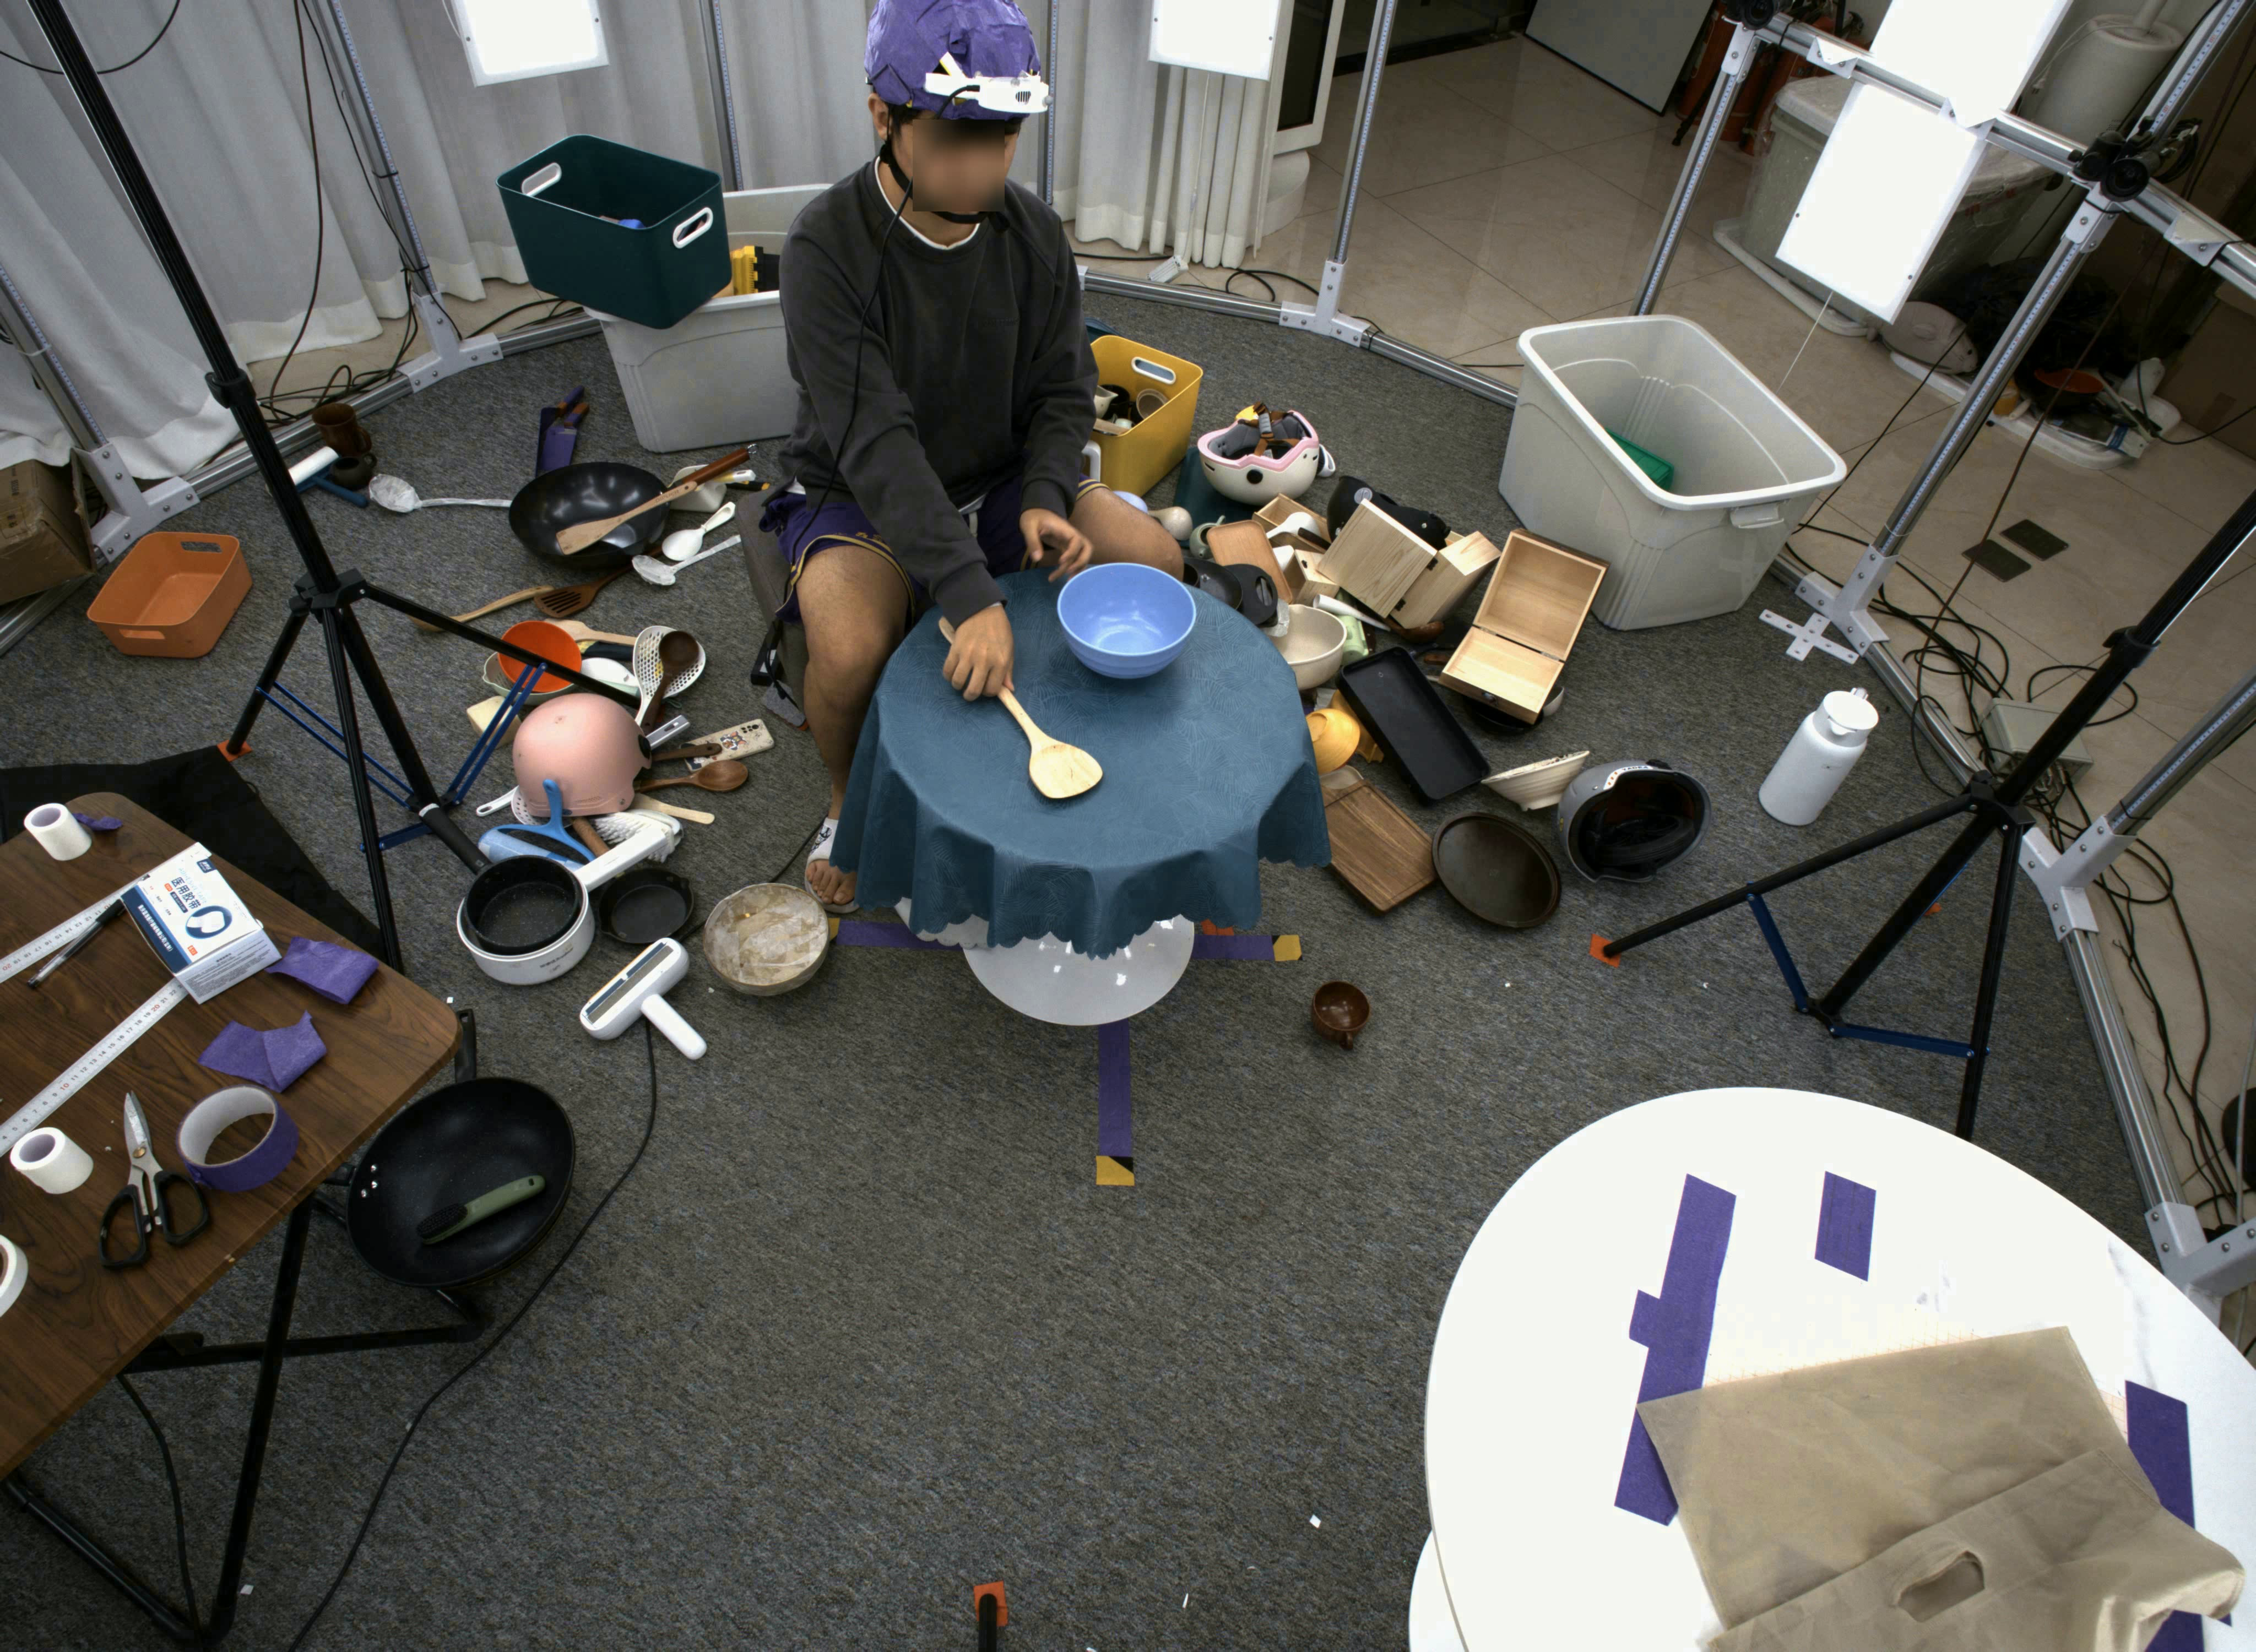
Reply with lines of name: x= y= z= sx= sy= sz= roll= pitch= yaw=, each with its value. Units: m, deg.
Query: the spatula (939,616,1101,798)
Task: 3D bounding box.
spatula: x=-0.170 y=-0.173 z=1.789 sx=0.096 sy=0.018 sz=0.398 roll=-21 pitch=55 yaw=-26

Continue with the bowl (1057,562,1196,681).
bowl: x=-0.004 y=-0.279 z=1.850 sx=0.196 sy=0.093 sz=0.201 roll=1 pitch=52 yaw=-2
